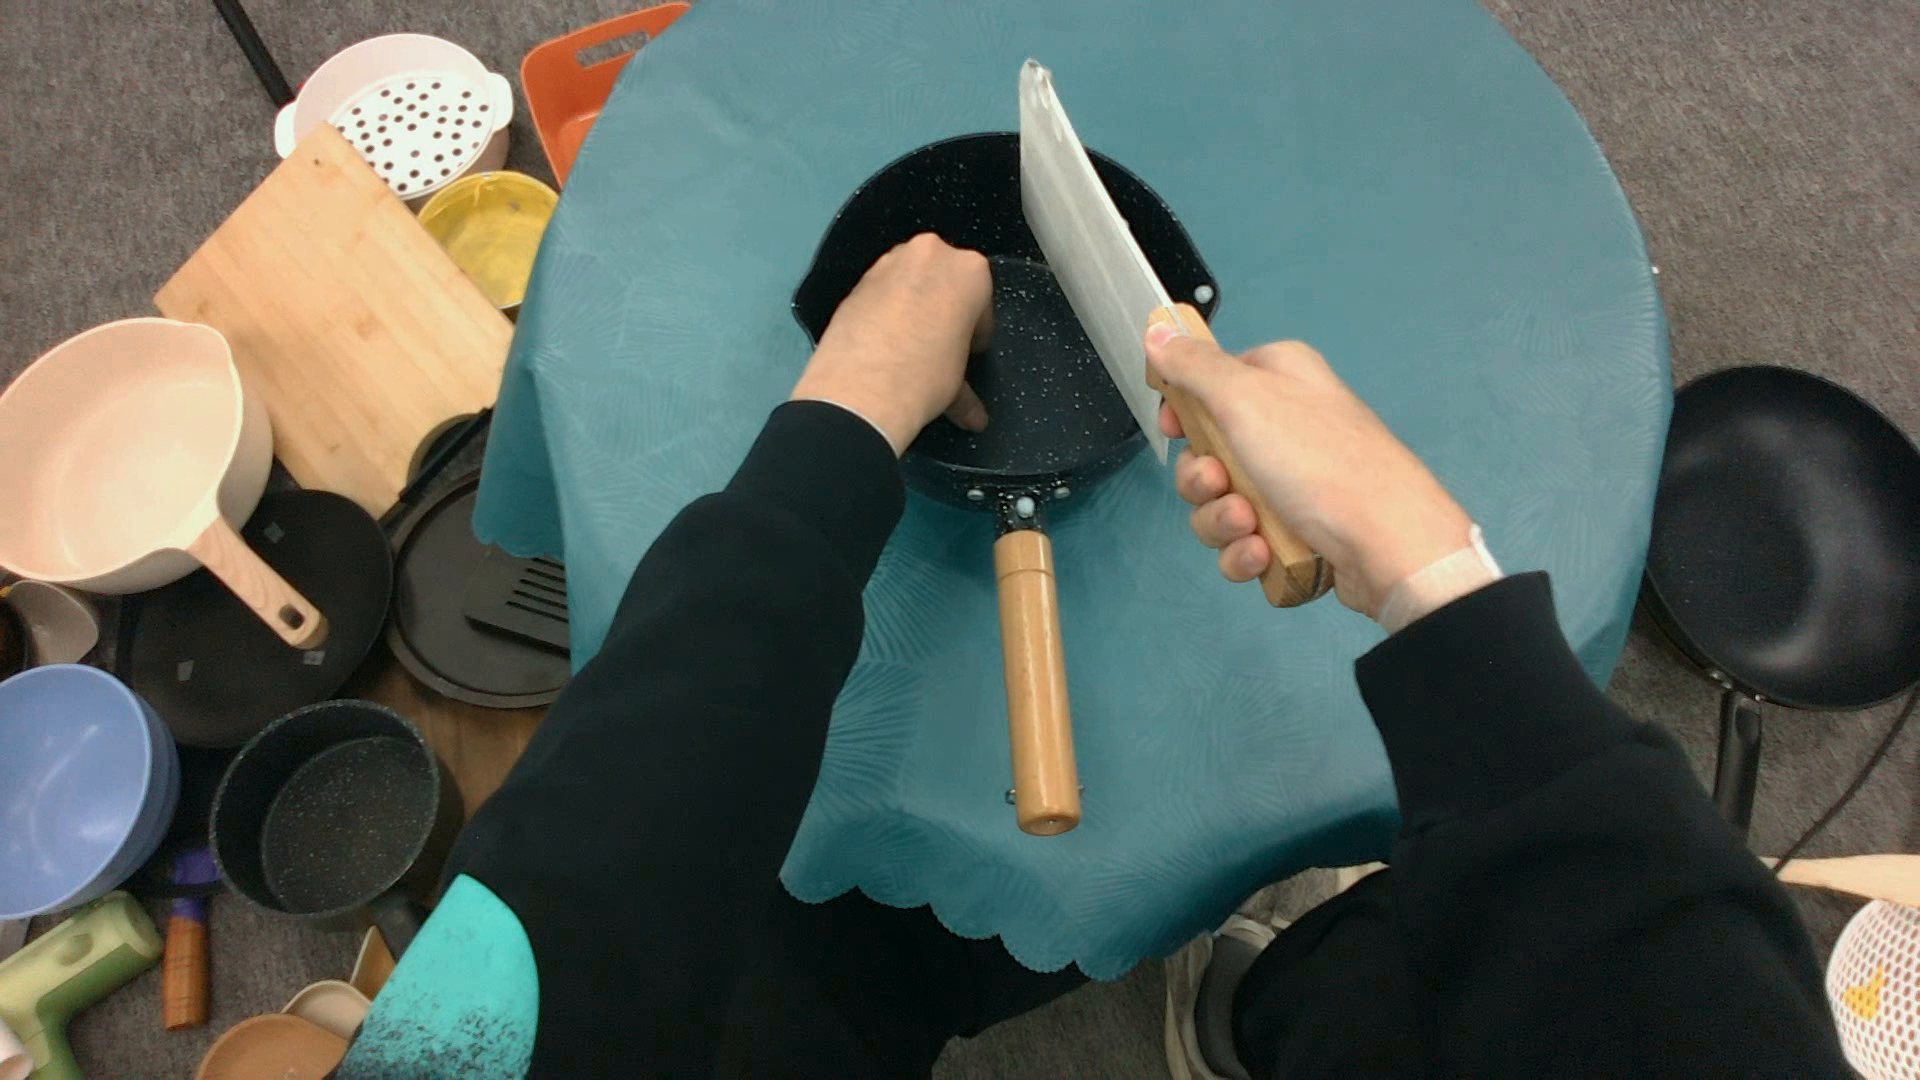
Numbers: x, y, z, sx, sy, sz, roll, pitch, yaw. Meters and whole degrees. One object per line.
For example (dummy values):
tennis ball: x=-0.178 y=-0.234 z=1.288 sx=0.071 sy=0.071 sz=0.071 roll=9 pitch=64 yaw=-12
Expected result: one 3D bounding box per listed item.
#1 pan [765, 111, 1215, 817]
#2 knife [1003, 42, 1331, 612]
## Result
pan: x=0.020 y=-0.037 z=0.633 sx=0.207 sy=0.108 sz=0.344 roll=-4 pitch=68 yaw=-5
knife: x=0.067 y=-0.093 z=0.563 sx=0.022 sy=0.113 sz=0.316 roll=-17 pitch=49 yaw=-8
